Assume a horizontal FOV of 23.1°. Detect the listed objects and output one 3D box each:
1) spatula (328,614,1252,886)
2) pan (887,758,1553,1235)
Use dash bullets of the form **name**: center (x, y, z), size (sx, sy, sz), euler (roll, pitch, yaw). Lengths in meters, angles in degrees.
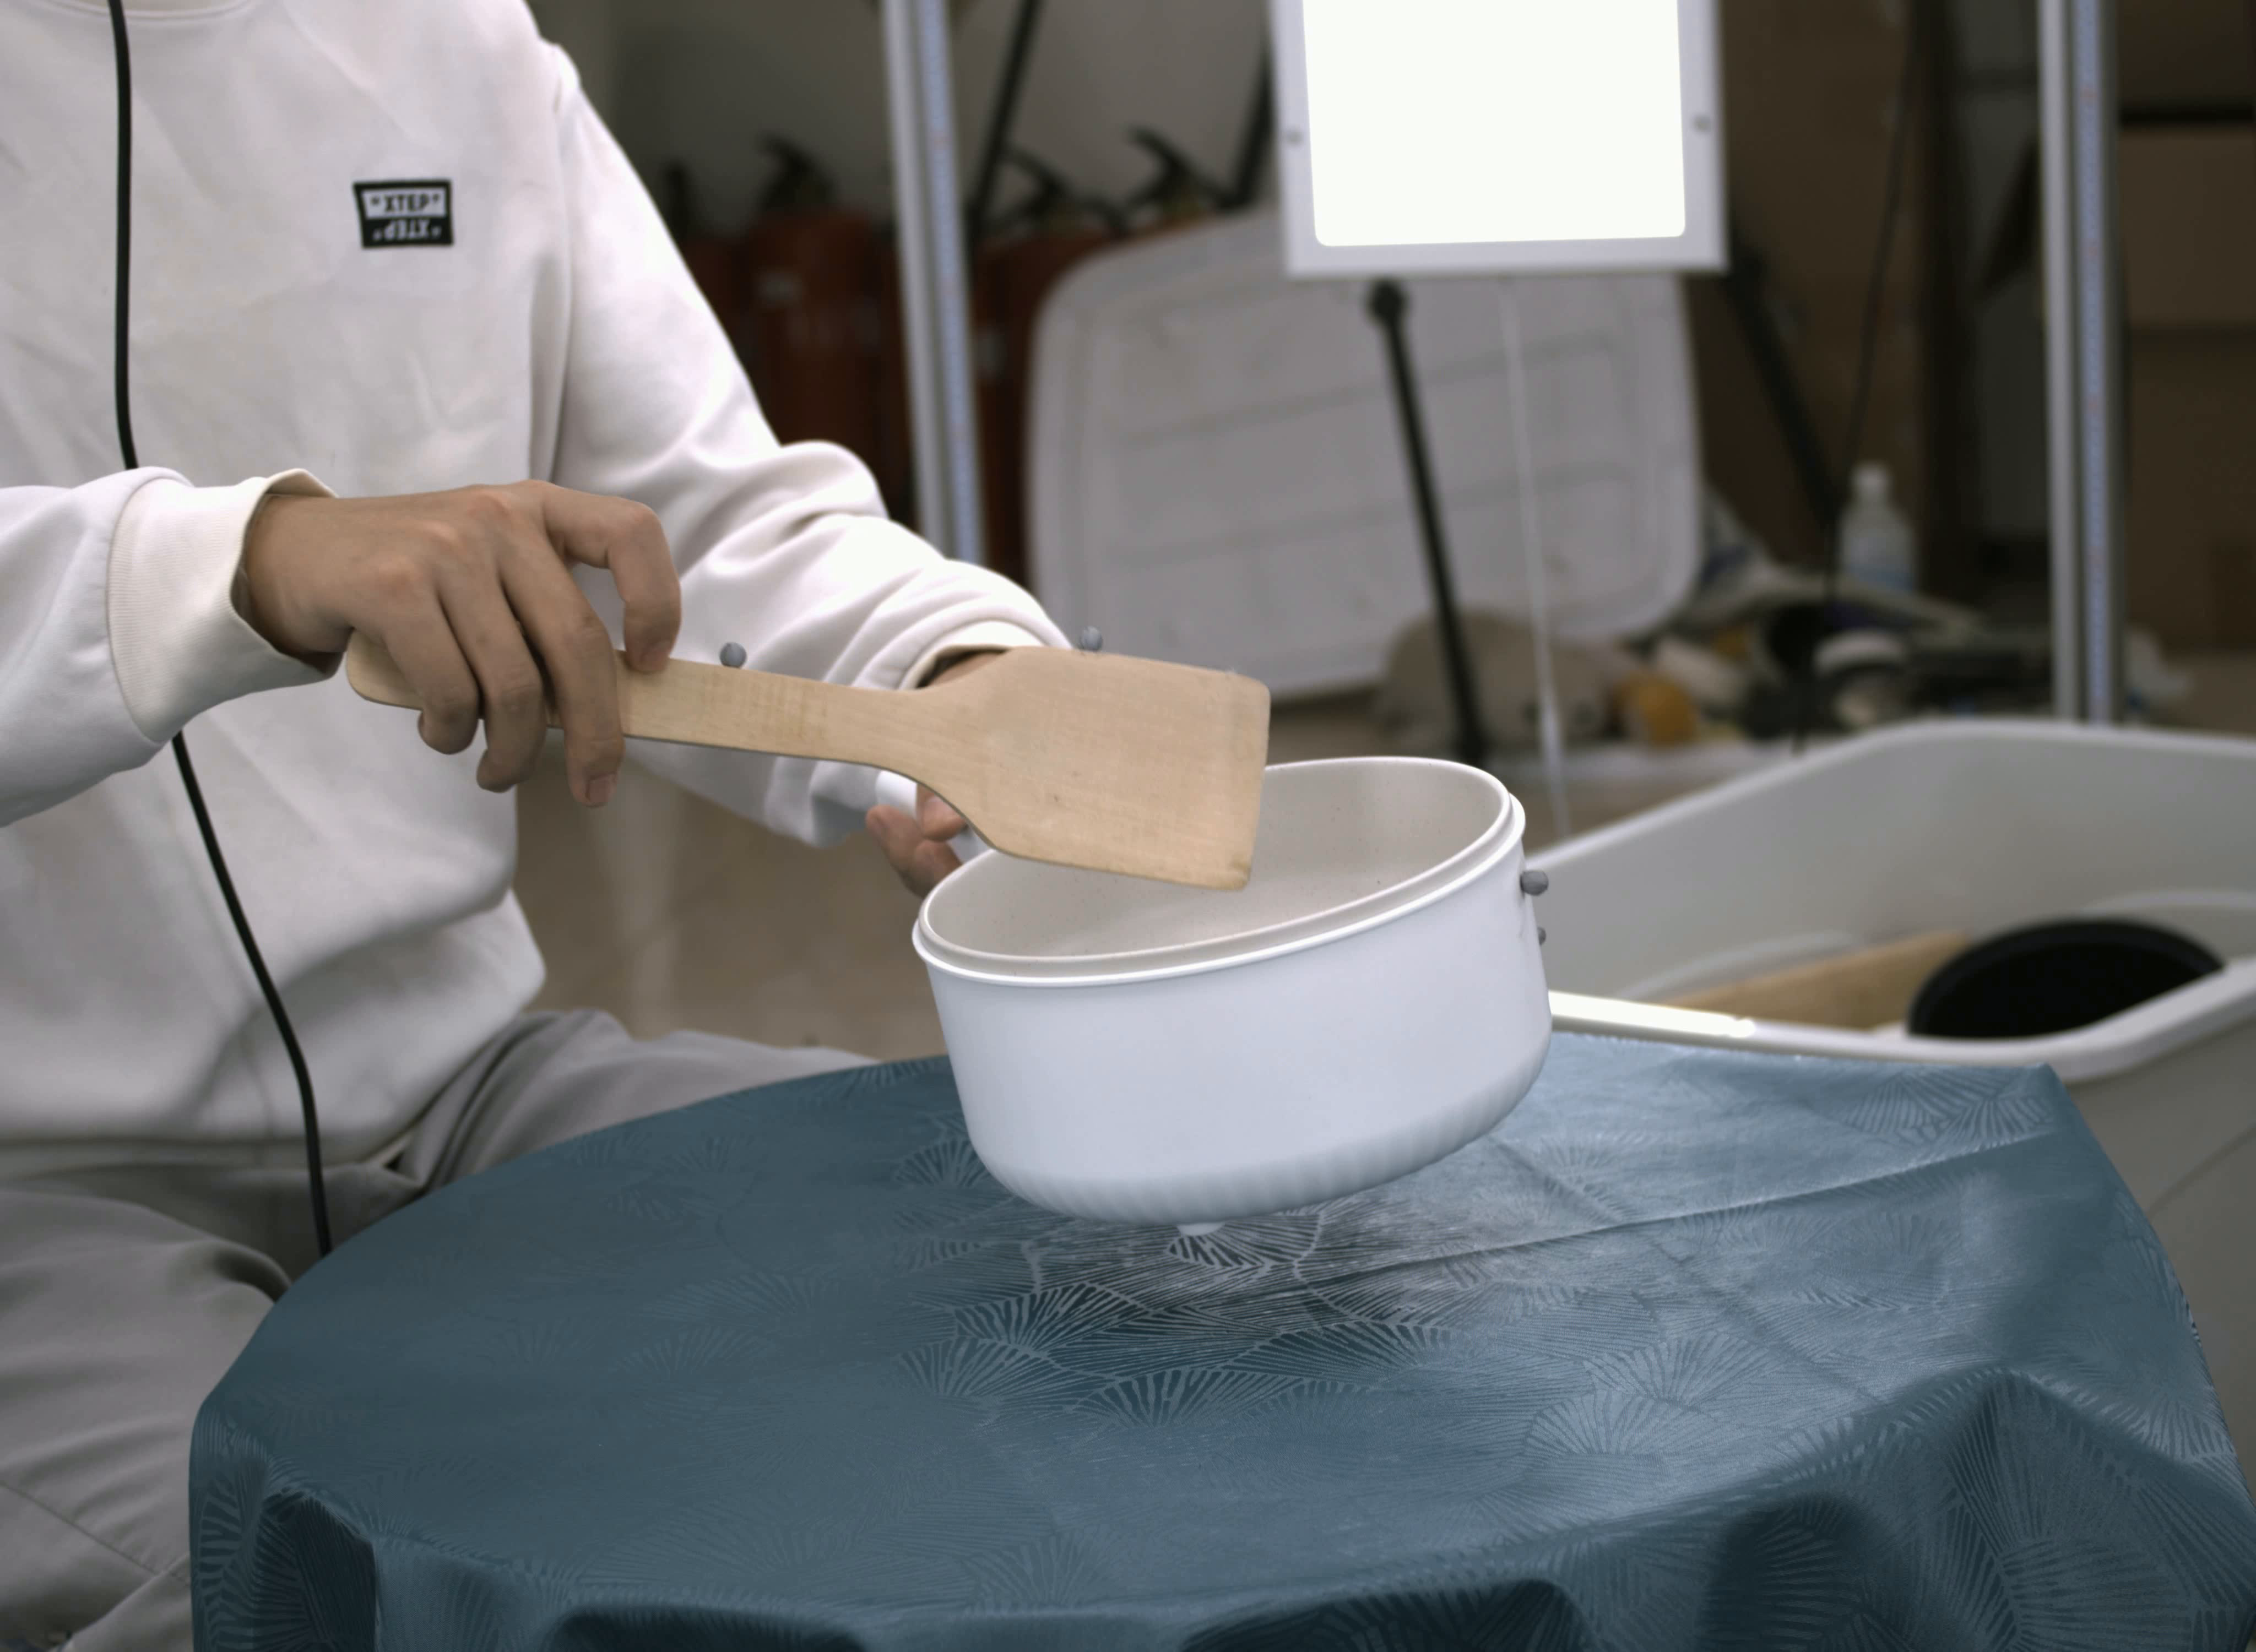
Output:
- **spatula**: center (-0.106, -0.036, 1.736), size (0.291, 0.072, 0.011), euler (8, -8, -3)
- **pan**: center (0.007, 0.045, 1.852), size (0.198, 0.102, 0.360), euler (-18, 16, -20)
